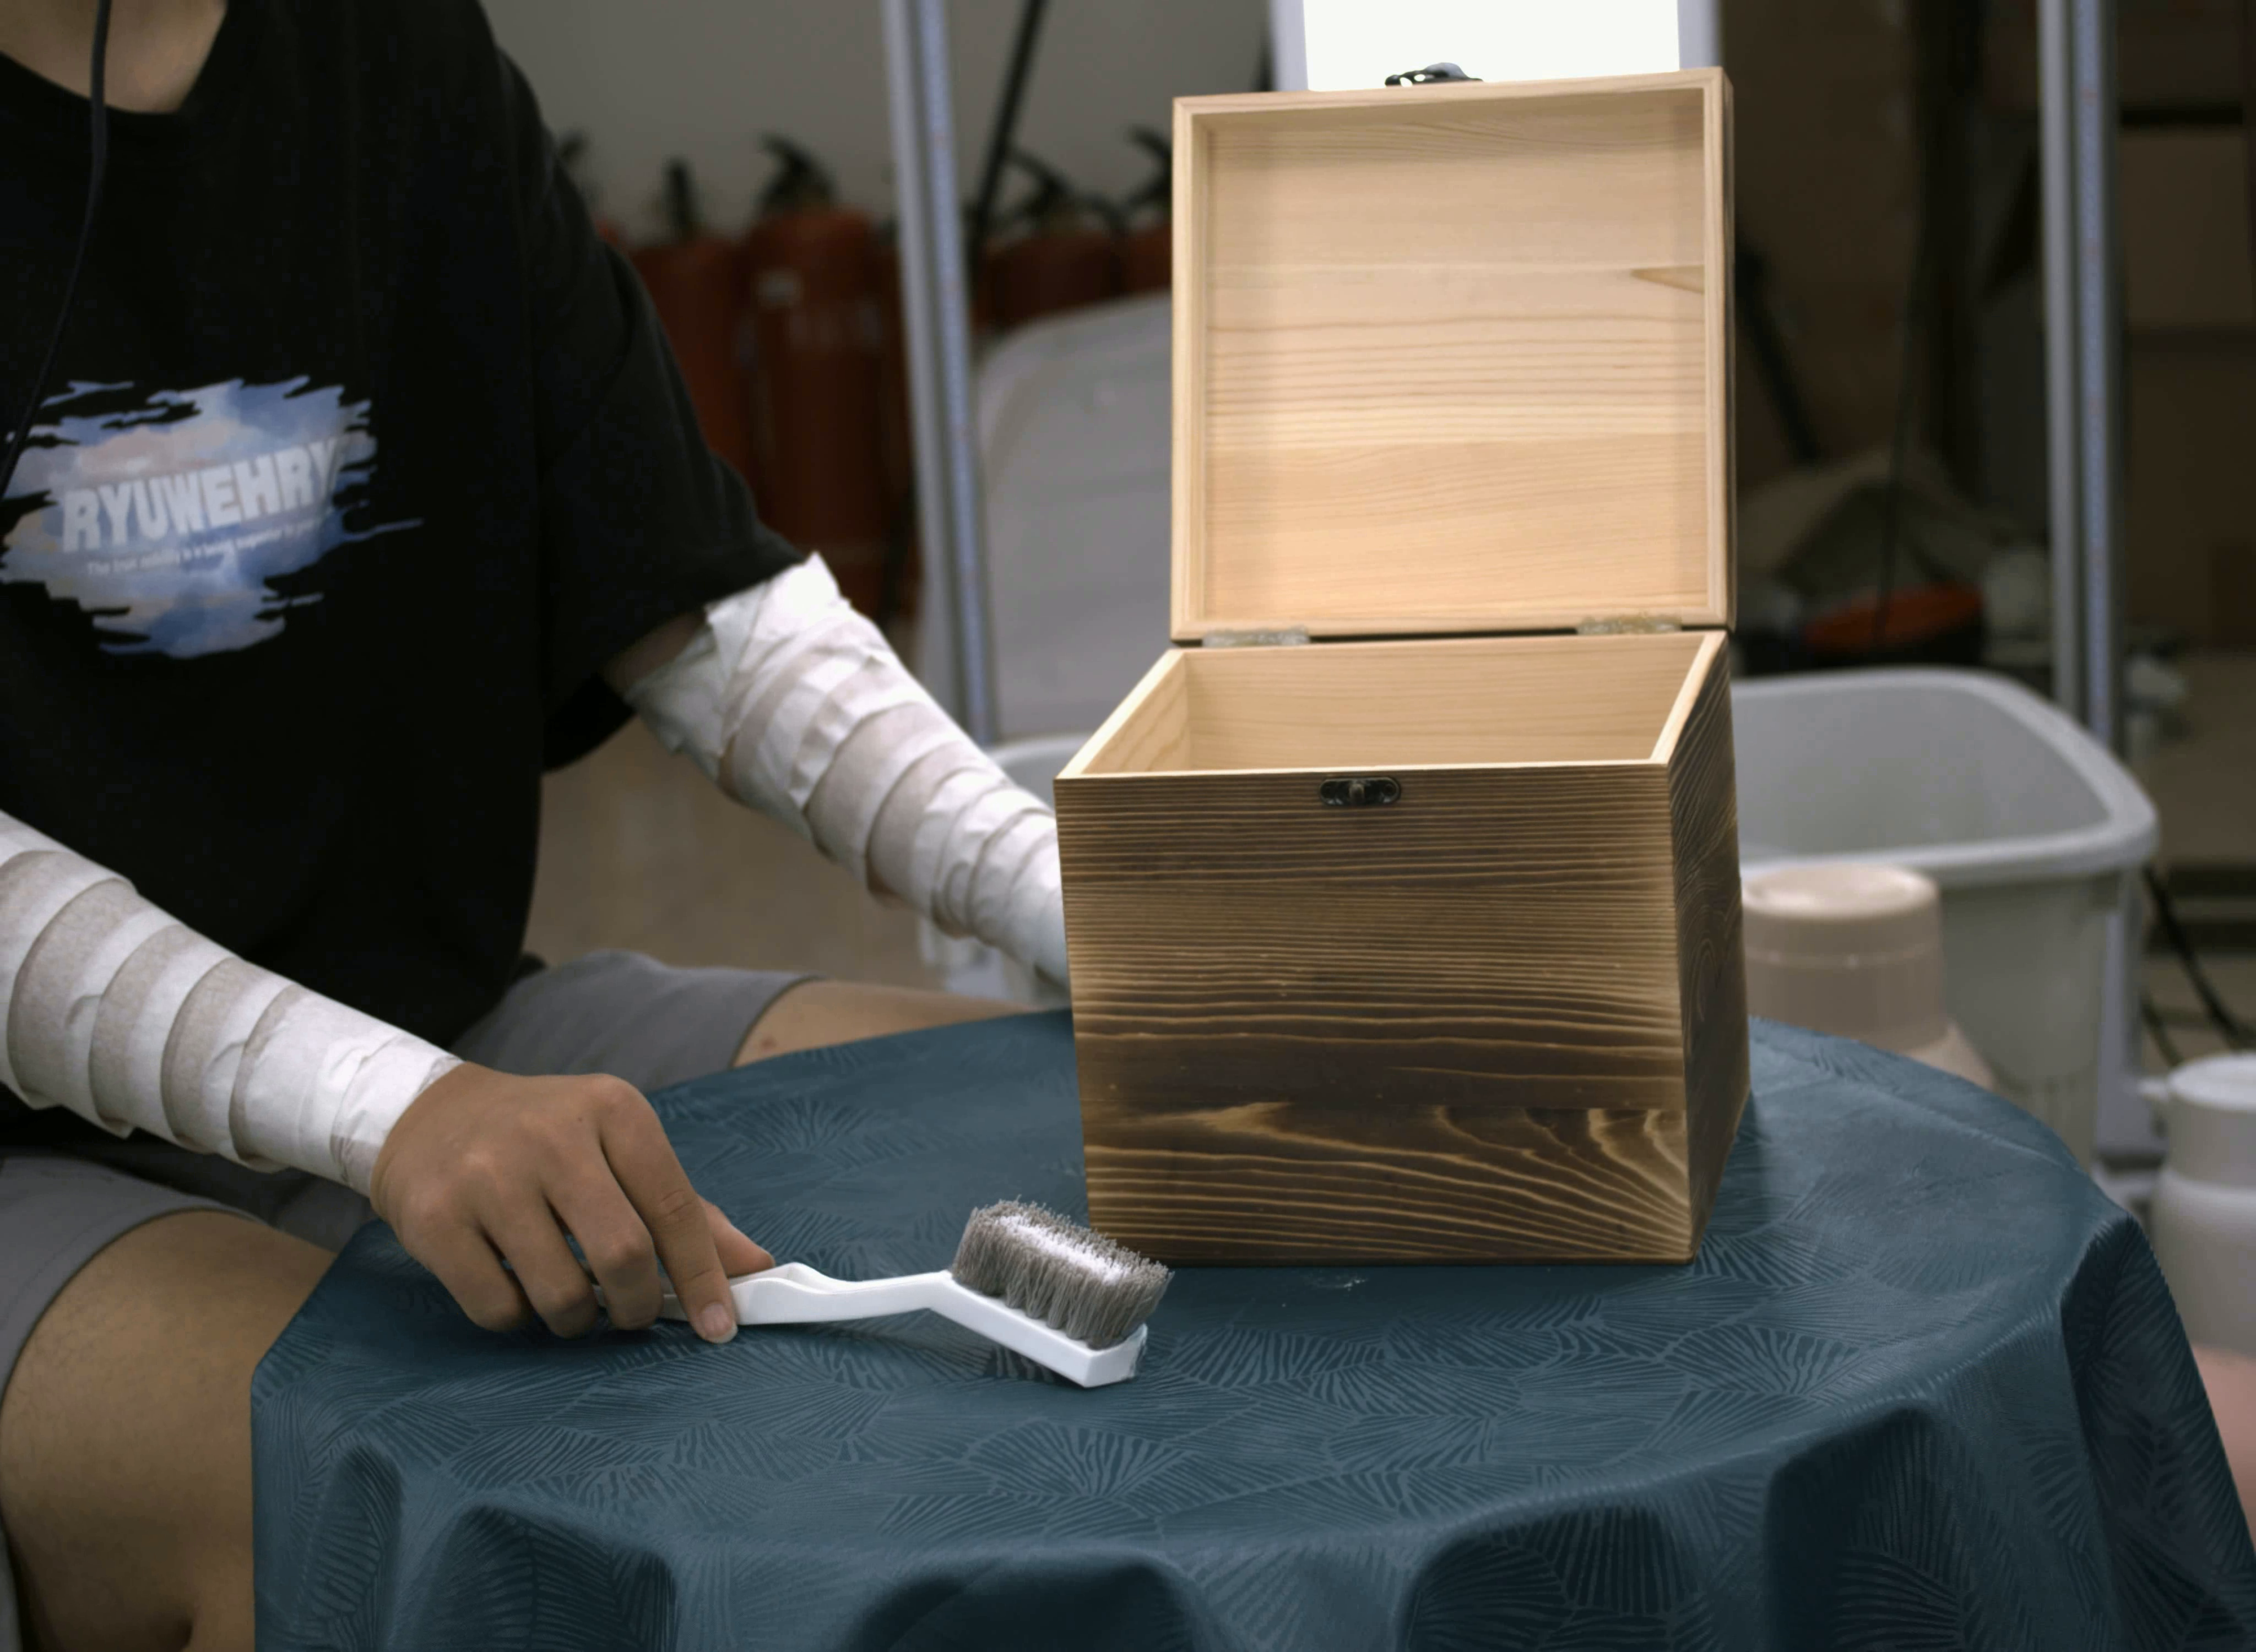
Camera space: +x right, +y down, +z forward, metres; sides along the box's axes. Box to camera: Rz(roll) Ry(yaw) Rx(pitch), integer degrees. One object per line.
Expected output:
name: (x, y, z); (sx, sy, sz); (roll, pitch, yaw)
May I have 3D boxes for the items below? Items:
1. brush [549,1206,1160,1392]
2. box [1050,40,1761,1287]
brush: (-0.094, 0.140, 1.774); (0.249, 0.050, 0.033); (6, 16, 38)
box: (0.099, -0.069, 1.892); (0.210, 0.377, 0.318); (-3, 14, 13)
